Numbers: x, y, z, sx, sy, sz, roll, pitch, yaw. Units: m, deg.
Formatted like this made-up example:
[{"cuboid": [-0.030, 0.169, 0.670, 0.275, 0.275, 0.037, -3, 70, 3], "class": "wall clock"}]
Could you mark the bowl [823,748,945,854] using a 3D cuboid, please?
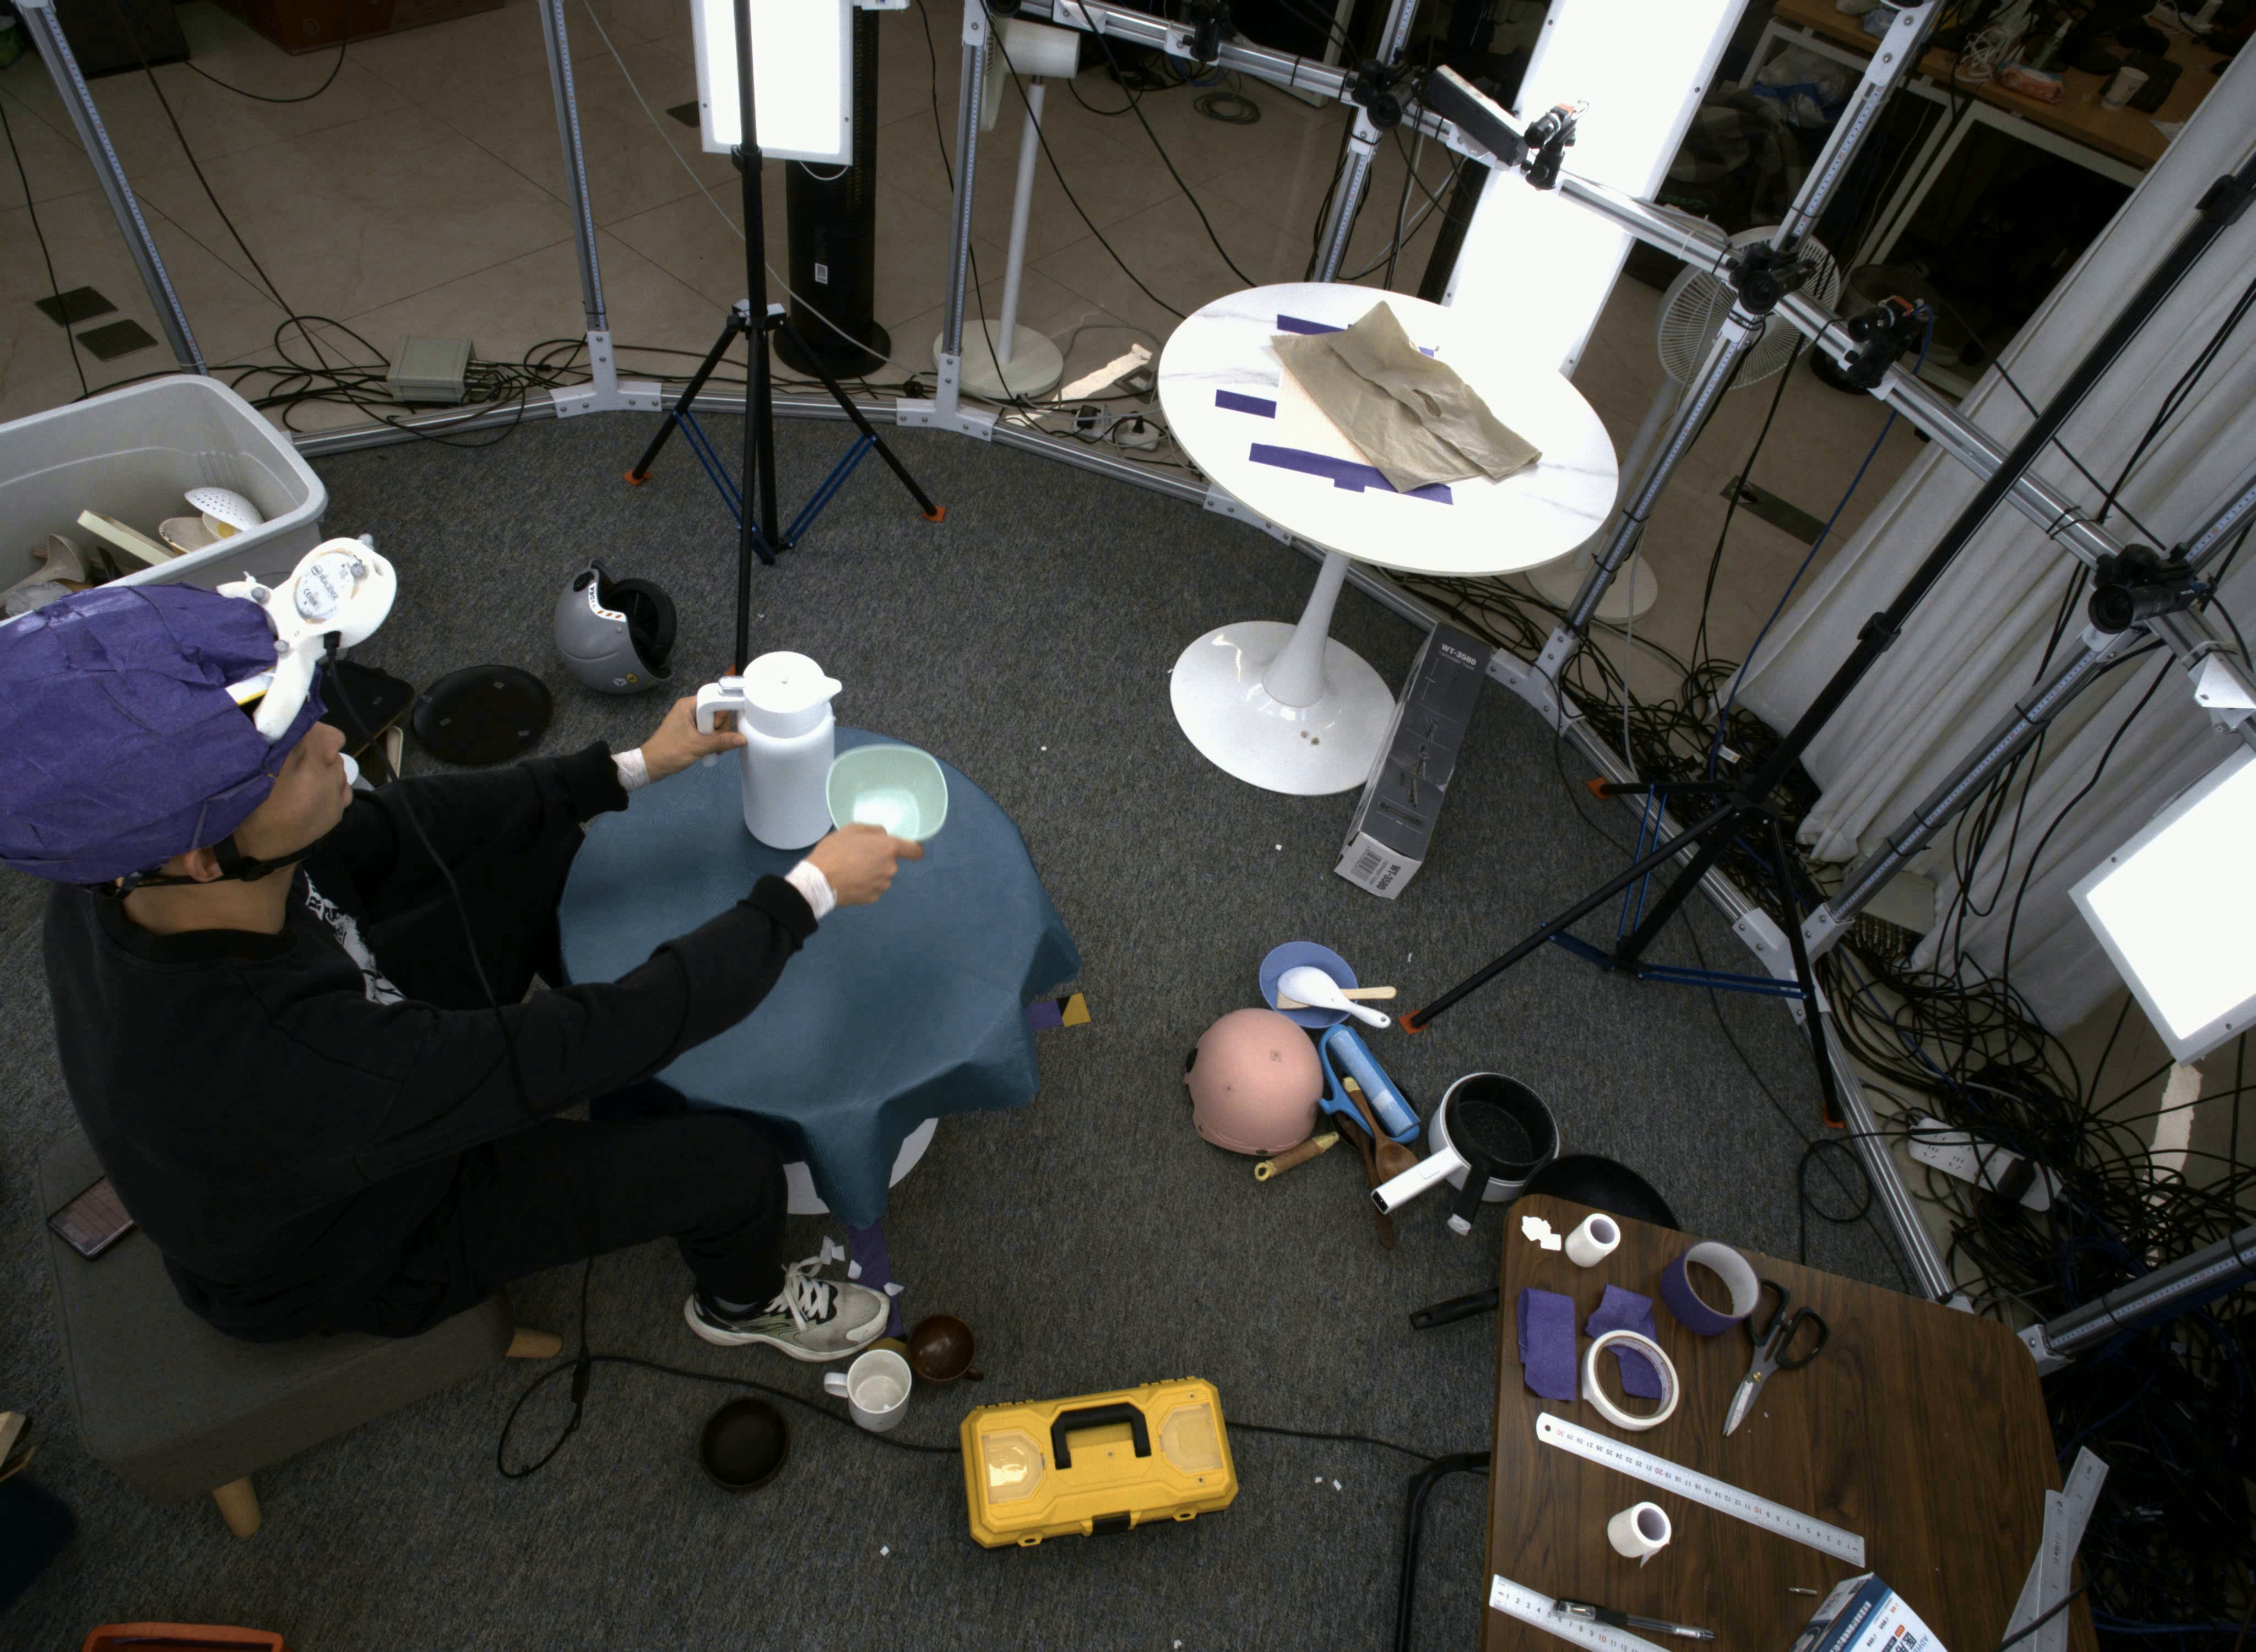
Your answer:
[{"cuboid": [-0.285, -0.020, 1.515, 0.151, 0.059, 0.149, 8, 55, -10], "class": "bowl"}]

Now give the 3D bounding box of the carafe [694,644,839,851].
[{"cuboid": [-0.446, -0.092, 1.612, 0.173, 0.274, 0.121, -4, 55, -15], "class": "carafe"}]
